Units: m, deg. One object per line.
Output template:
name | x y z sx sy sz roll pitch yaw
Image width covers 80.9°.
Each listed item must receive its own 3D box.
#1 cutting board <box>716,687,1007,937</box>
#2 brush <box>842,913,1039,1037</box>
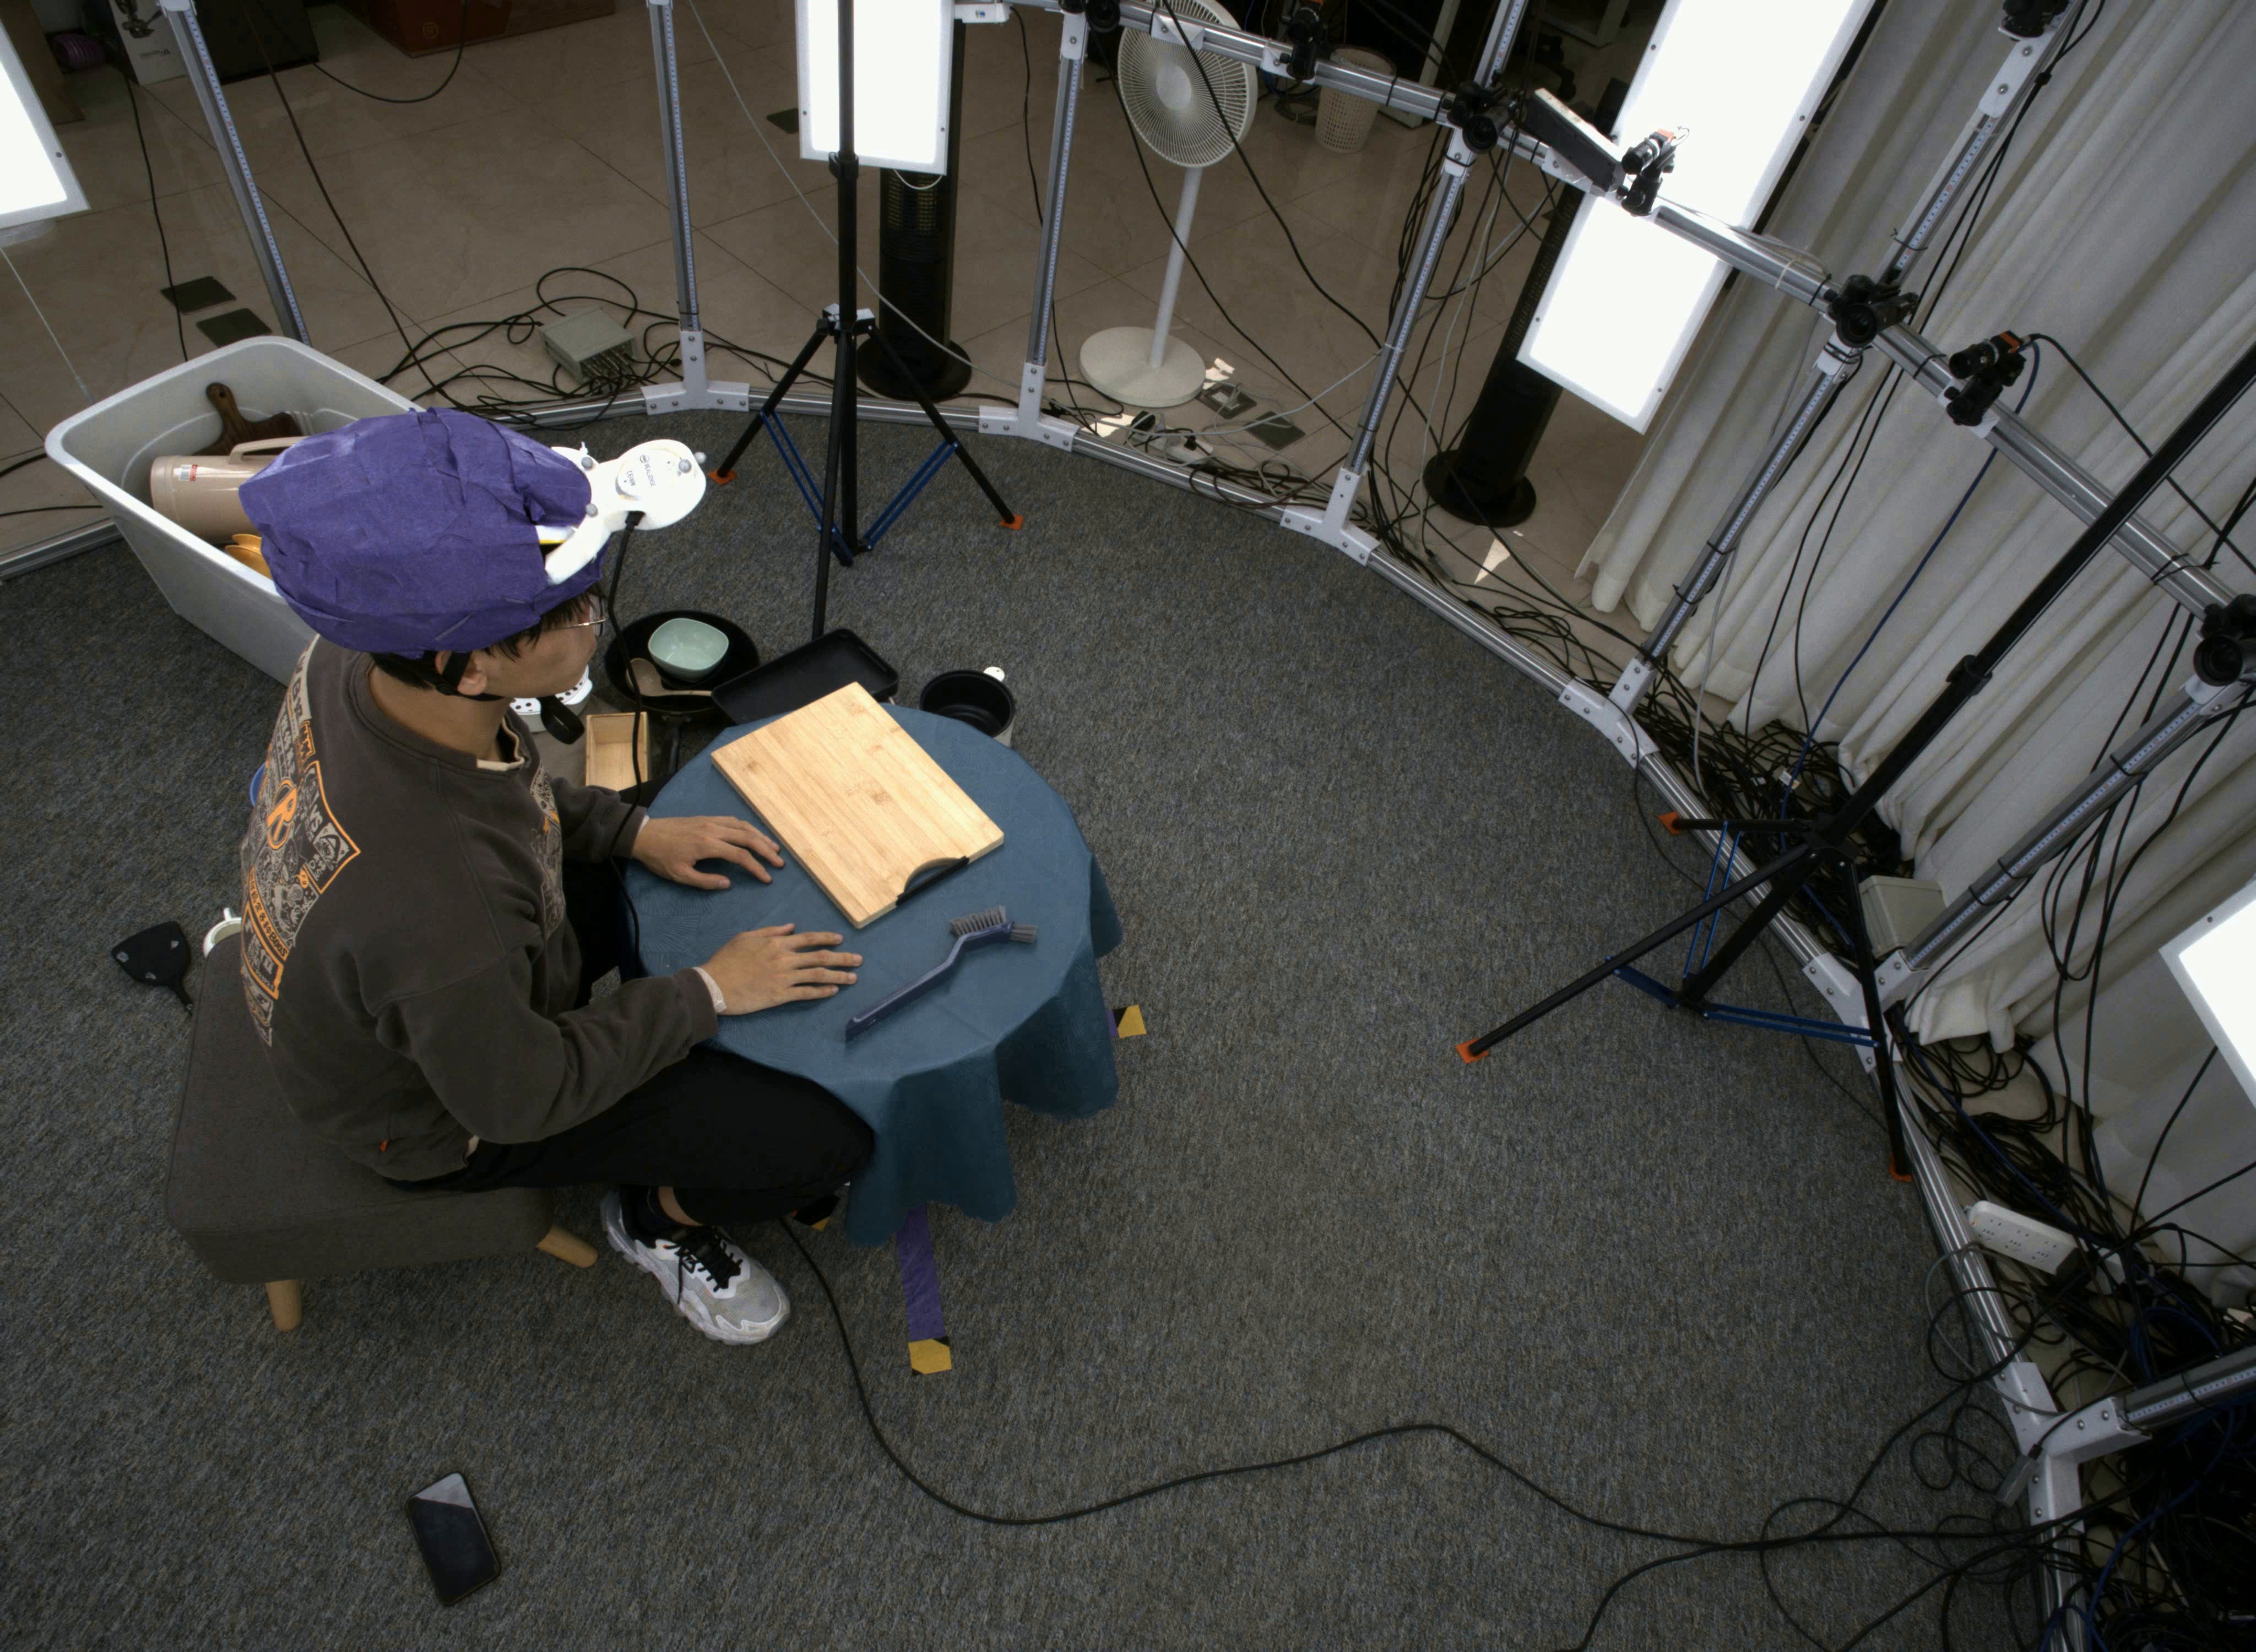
cutting board | -0.363 -0.033 1.767 0.251 0.024 0.341 -35 68 -31
brush | -0.235 0.189 1.626 0.094 0.034 0.273 39 54 16
